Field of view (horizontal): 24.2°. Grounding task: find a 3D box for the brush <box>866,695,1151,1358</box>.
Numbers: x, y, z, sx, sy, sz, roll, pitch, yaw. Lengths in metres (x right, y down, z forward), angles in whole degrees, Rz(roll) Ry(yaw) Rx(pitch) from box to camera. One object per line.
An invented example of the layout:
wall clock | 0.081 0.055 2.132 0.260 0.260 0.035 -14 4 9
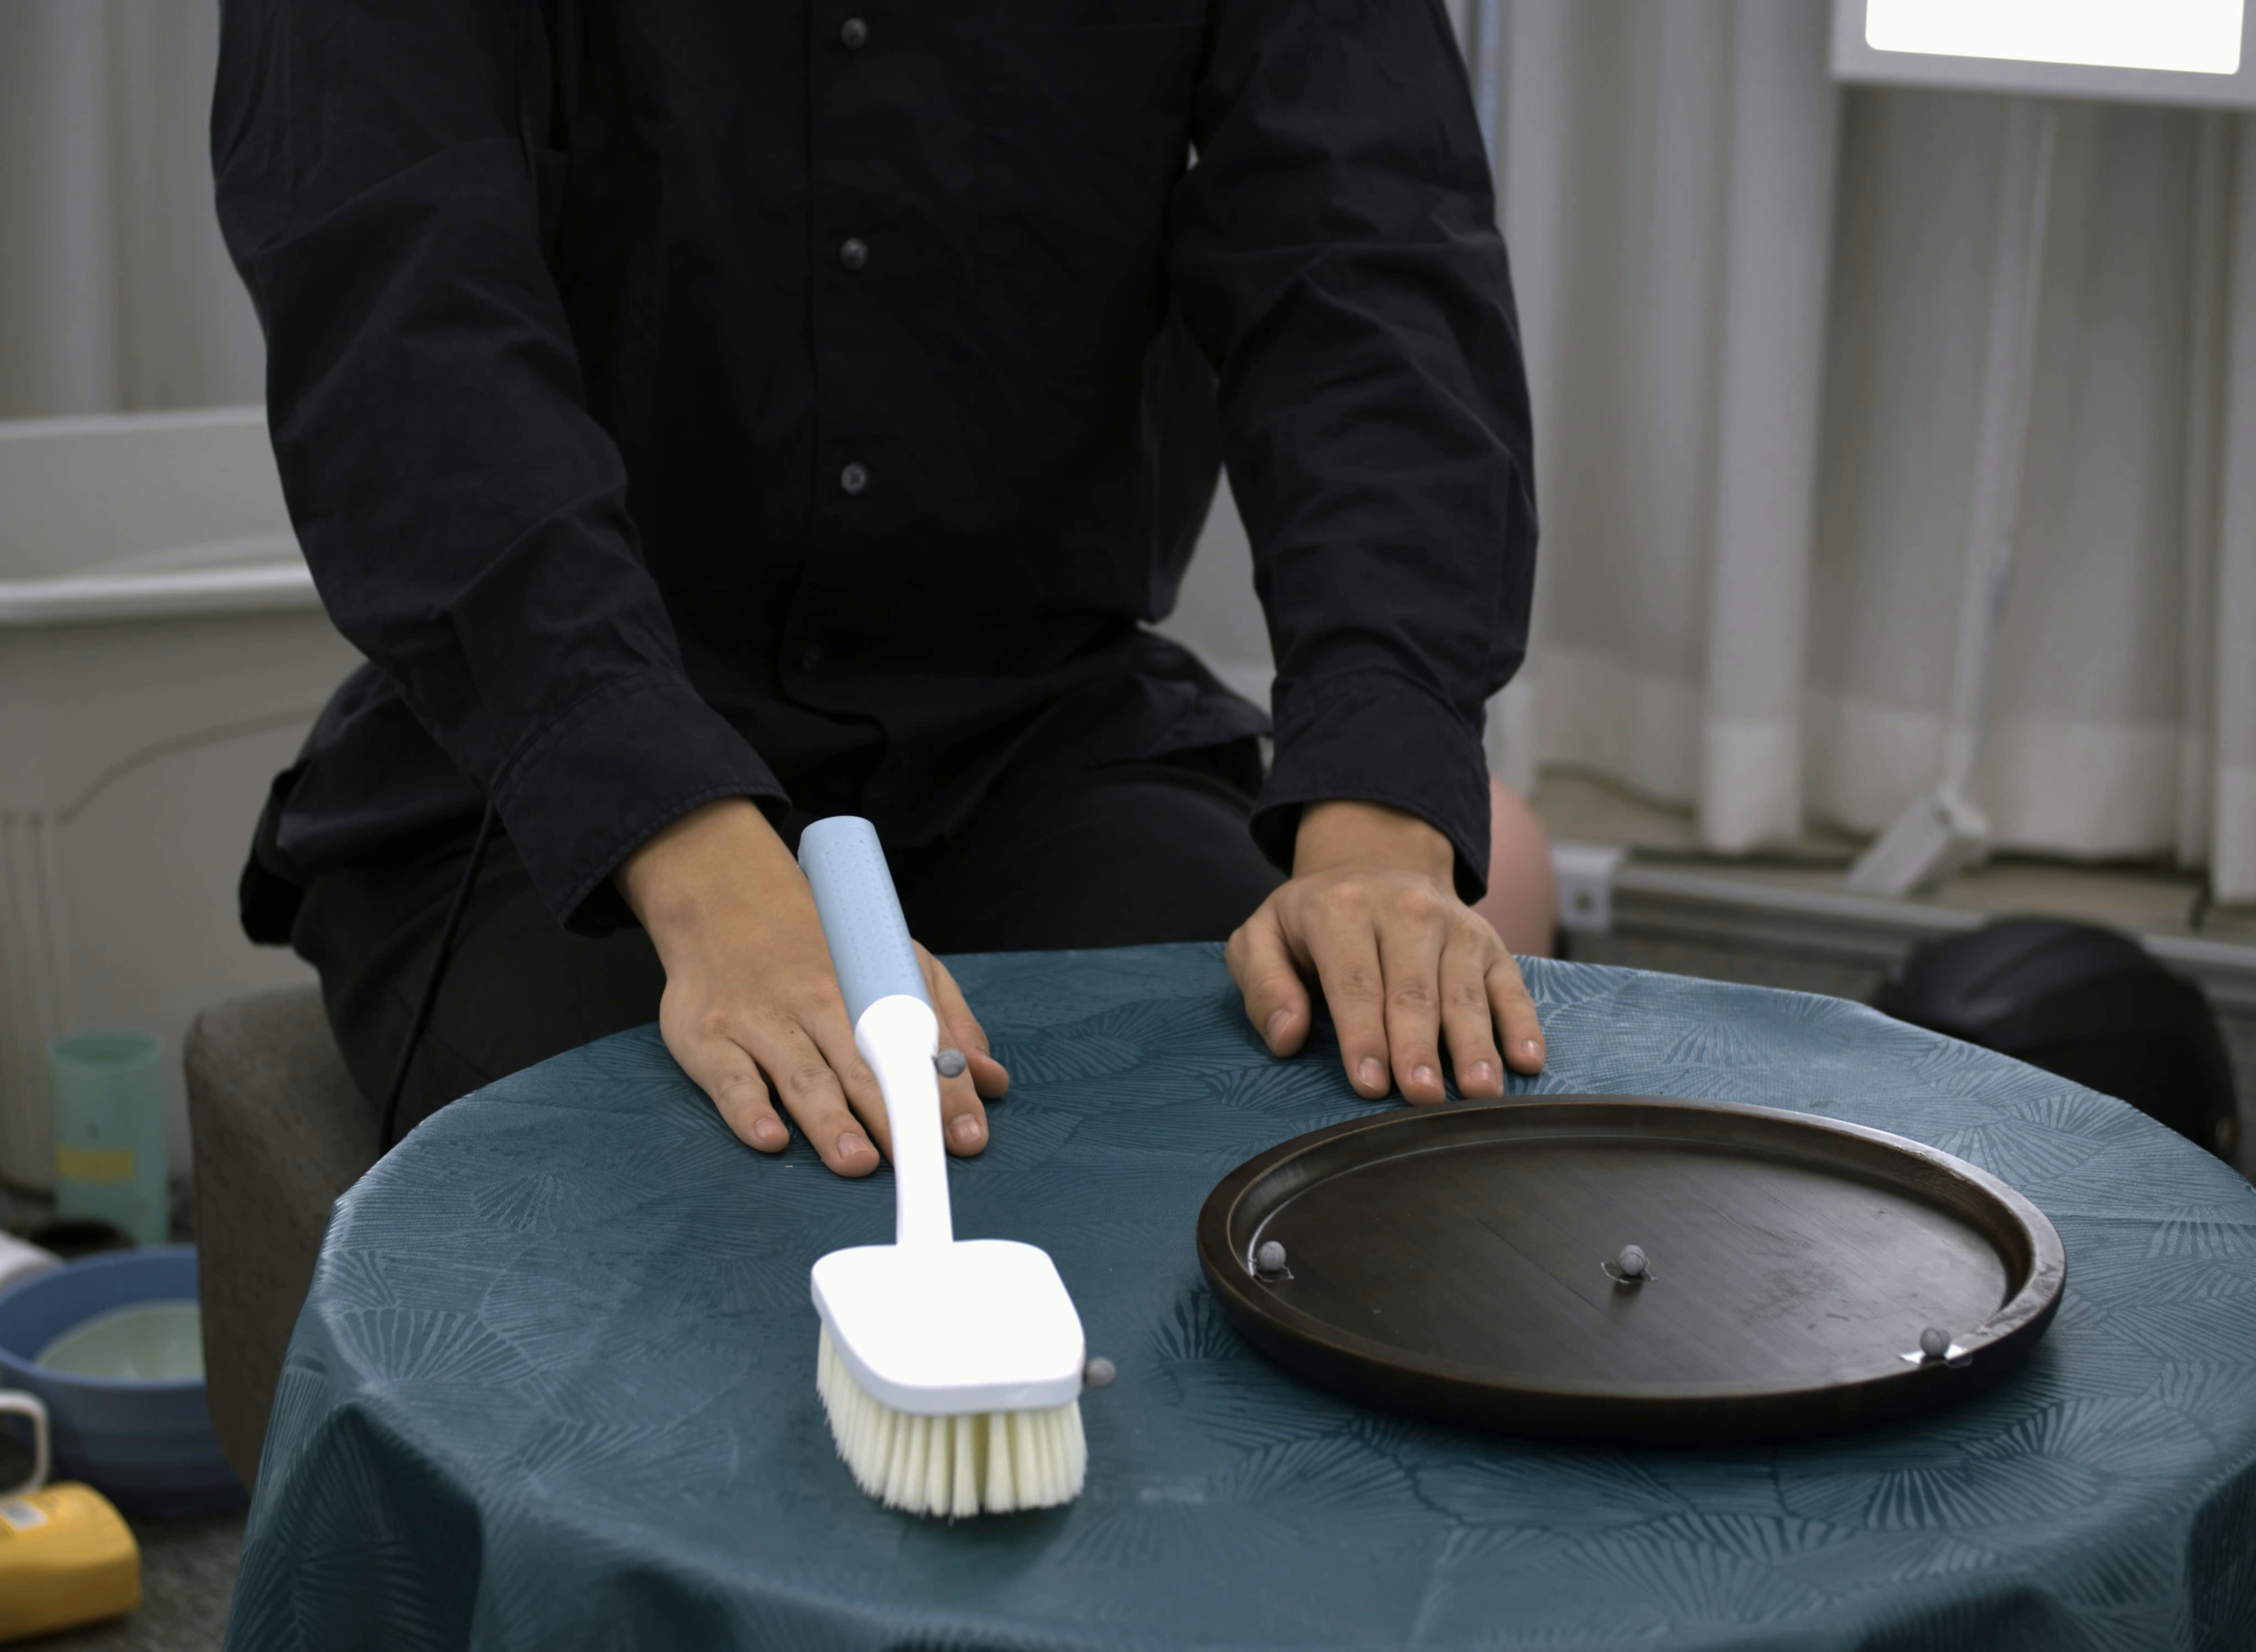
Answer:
brush | -0.042 0.070 1.538 0.084 0.084 0.322 34 16 -25

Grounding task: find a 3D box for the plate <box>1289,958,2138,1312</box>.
plate | 0.174 0.091 1.575 0.254 0.029 0.253 -1 17 1
